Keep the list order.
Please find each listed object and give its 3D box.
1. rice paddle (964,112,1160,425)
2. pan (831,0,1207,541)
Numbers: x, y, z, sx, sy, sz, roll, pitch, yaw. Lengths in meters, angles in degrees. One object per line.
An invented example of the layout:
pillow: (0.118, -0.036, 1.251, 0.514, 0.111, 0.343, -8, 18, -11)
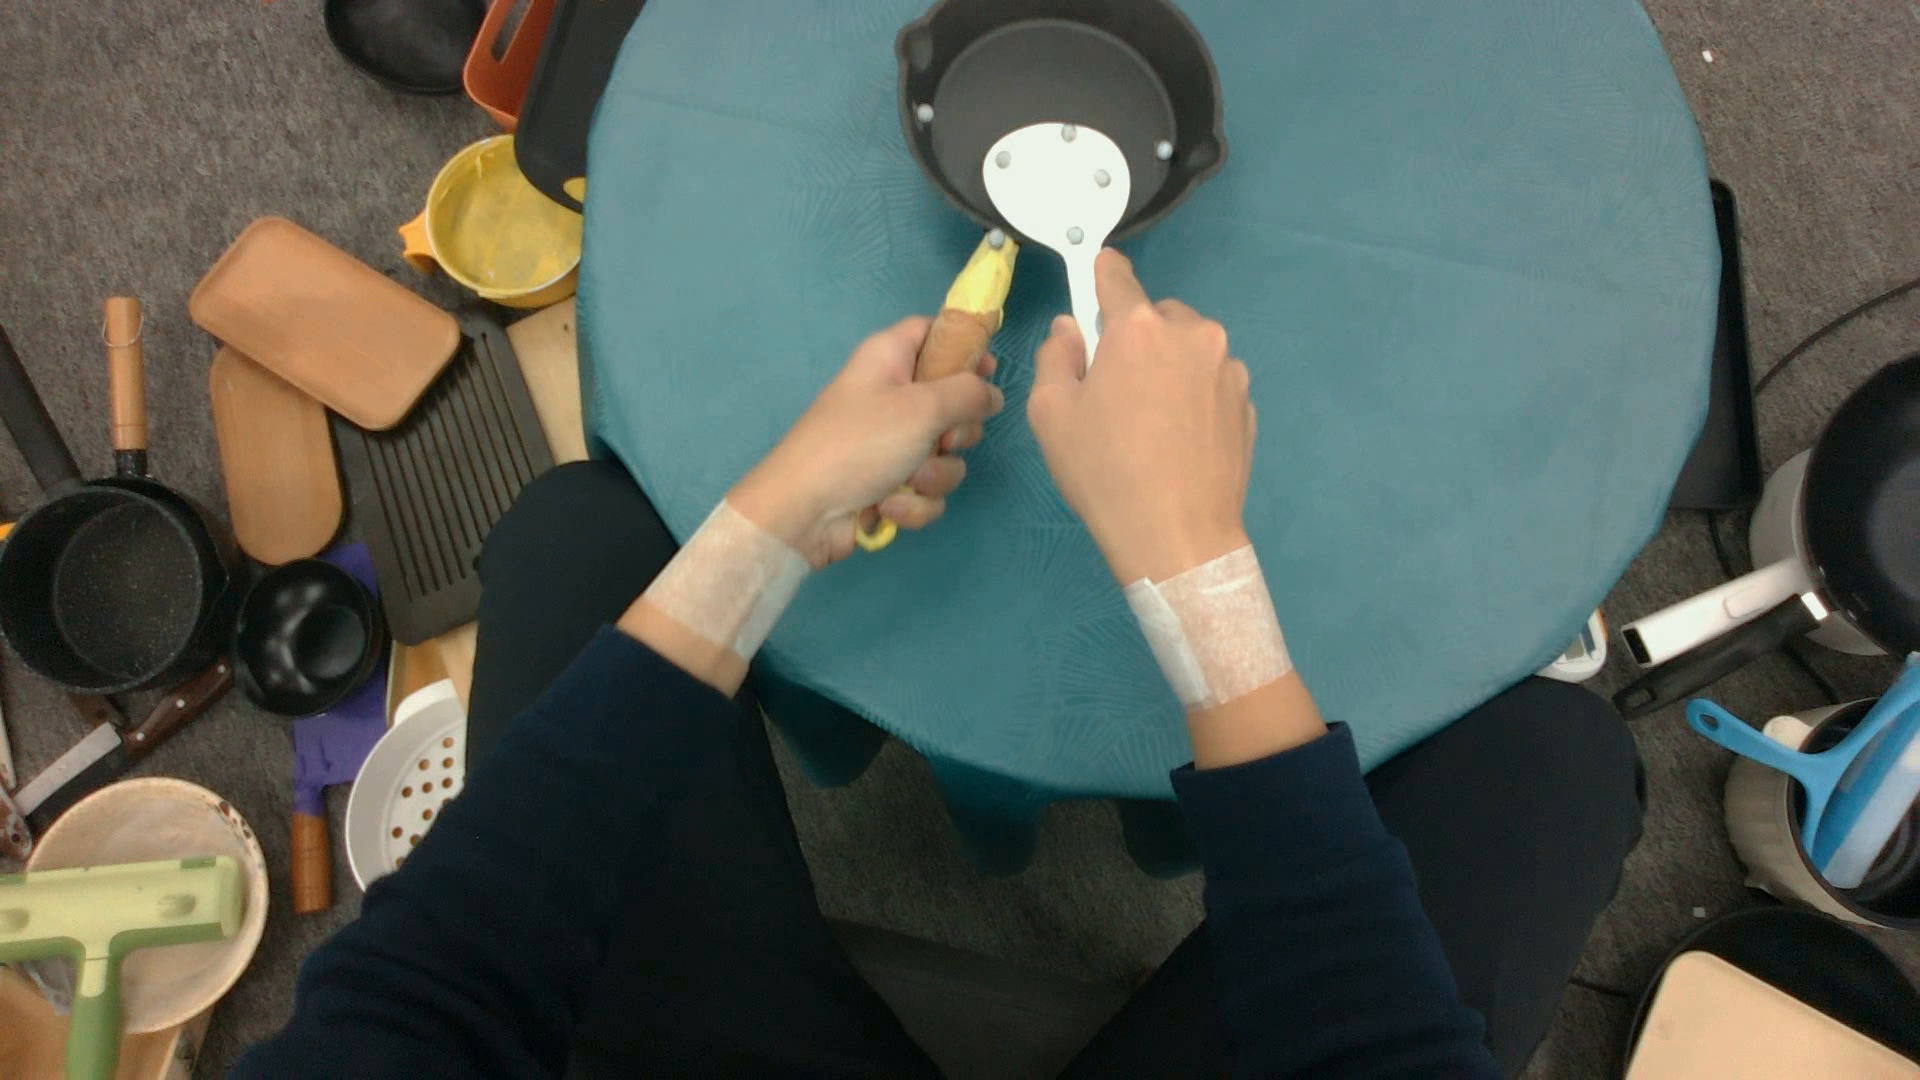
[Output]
rice paddle: (0.048, -0.136, 0.625, 0.069, 0.029, 0.206, -9, 52, -6)
pan: (0.008, -0.144, 0.651, 0.169, 0.049, 0.325, 23, 74, 1)
